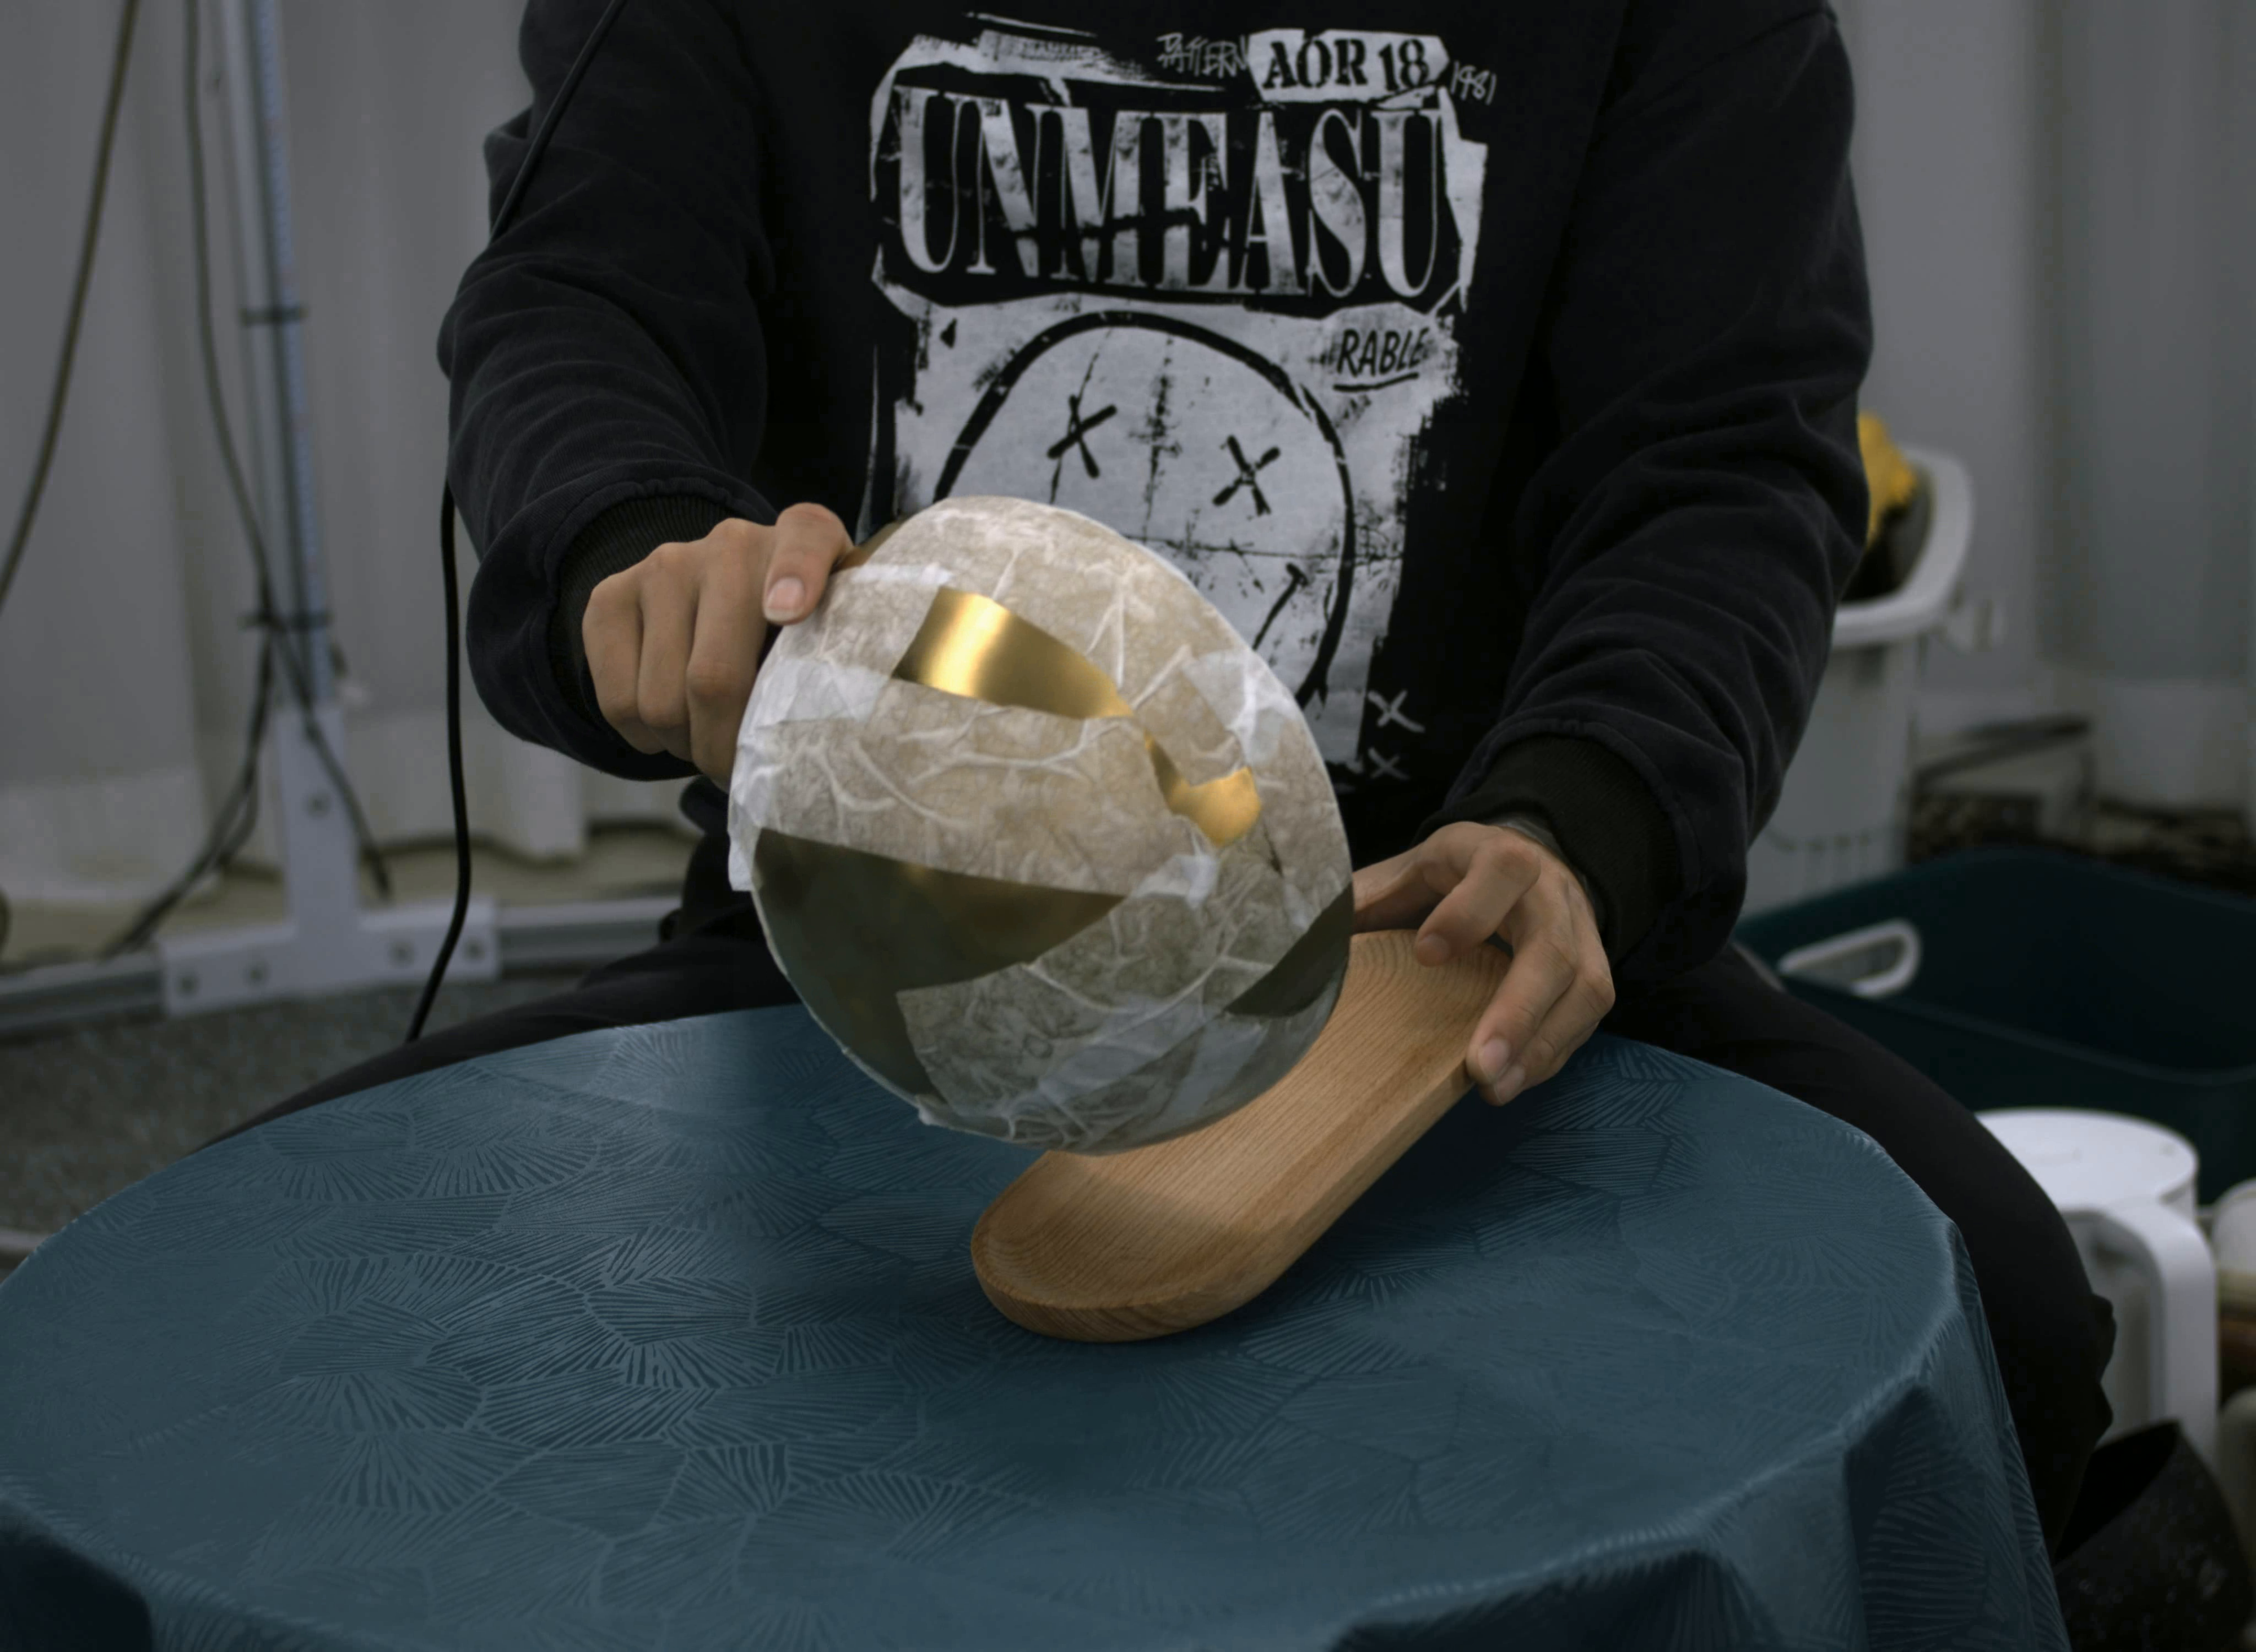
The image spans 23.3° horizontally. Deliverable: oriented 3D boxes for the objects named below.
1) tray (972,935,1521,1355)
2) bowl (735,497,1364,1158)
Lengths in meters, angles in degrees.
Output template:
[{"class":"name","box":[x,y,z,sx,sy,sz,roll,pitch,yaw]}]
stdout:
[{"class":"tray","box":[0.039,0.095,1.662,0.102,0.020,0.232,4,31,34]},{"class":"bowl","box":[-0.041,0.019,1.570,0.215,0.213,0.095,9,33,38]}]
